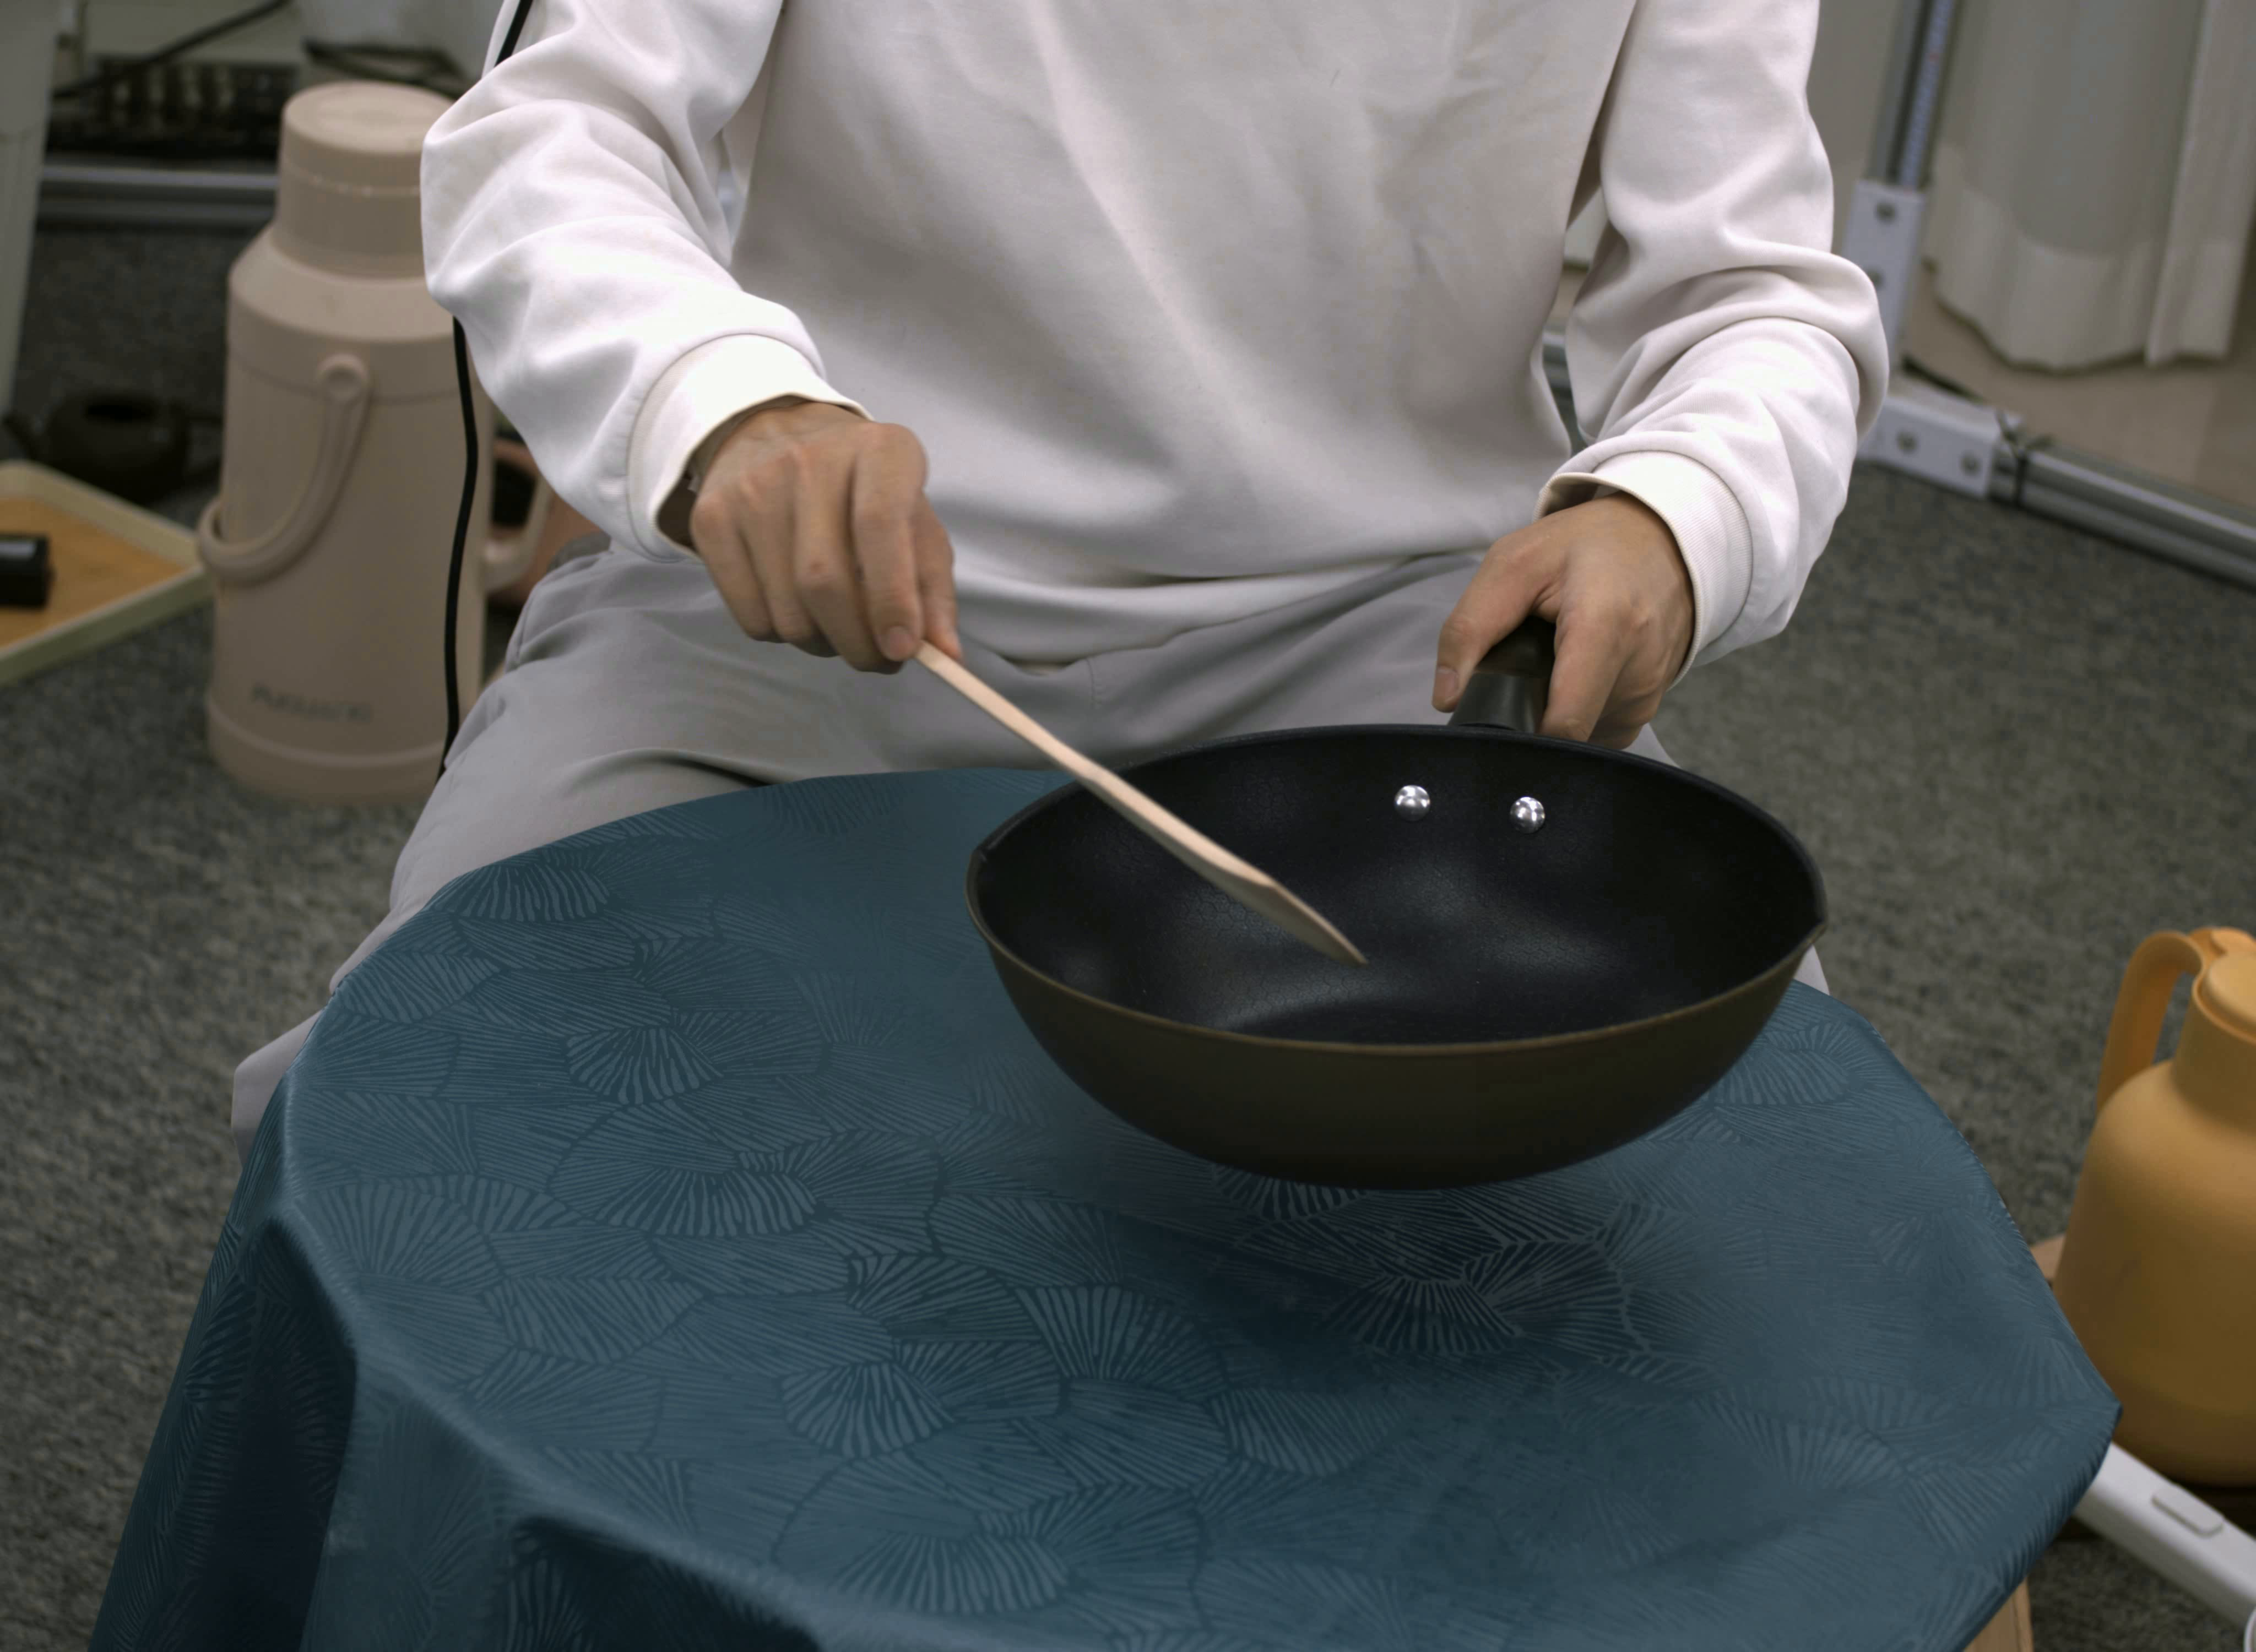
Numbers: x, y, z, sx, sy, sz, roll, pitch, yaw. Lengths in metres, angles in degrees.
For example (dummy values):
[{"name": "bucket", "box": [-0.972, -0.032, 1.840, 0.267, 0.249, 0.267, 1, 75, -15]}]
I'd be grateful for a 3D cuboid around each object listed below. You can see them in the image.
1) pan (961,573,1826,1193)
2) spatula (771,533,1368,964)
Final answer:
[{"name": "pan", "box": [0.110, 0.019, 1.848, 0.288, 0.086, 0.464, 6, 22, 14]}, {"name": "spatula", "box": [-0.031, -0.033, 1.787, 0.295, 0.010, 0.071, 36, -2, 40]}]
